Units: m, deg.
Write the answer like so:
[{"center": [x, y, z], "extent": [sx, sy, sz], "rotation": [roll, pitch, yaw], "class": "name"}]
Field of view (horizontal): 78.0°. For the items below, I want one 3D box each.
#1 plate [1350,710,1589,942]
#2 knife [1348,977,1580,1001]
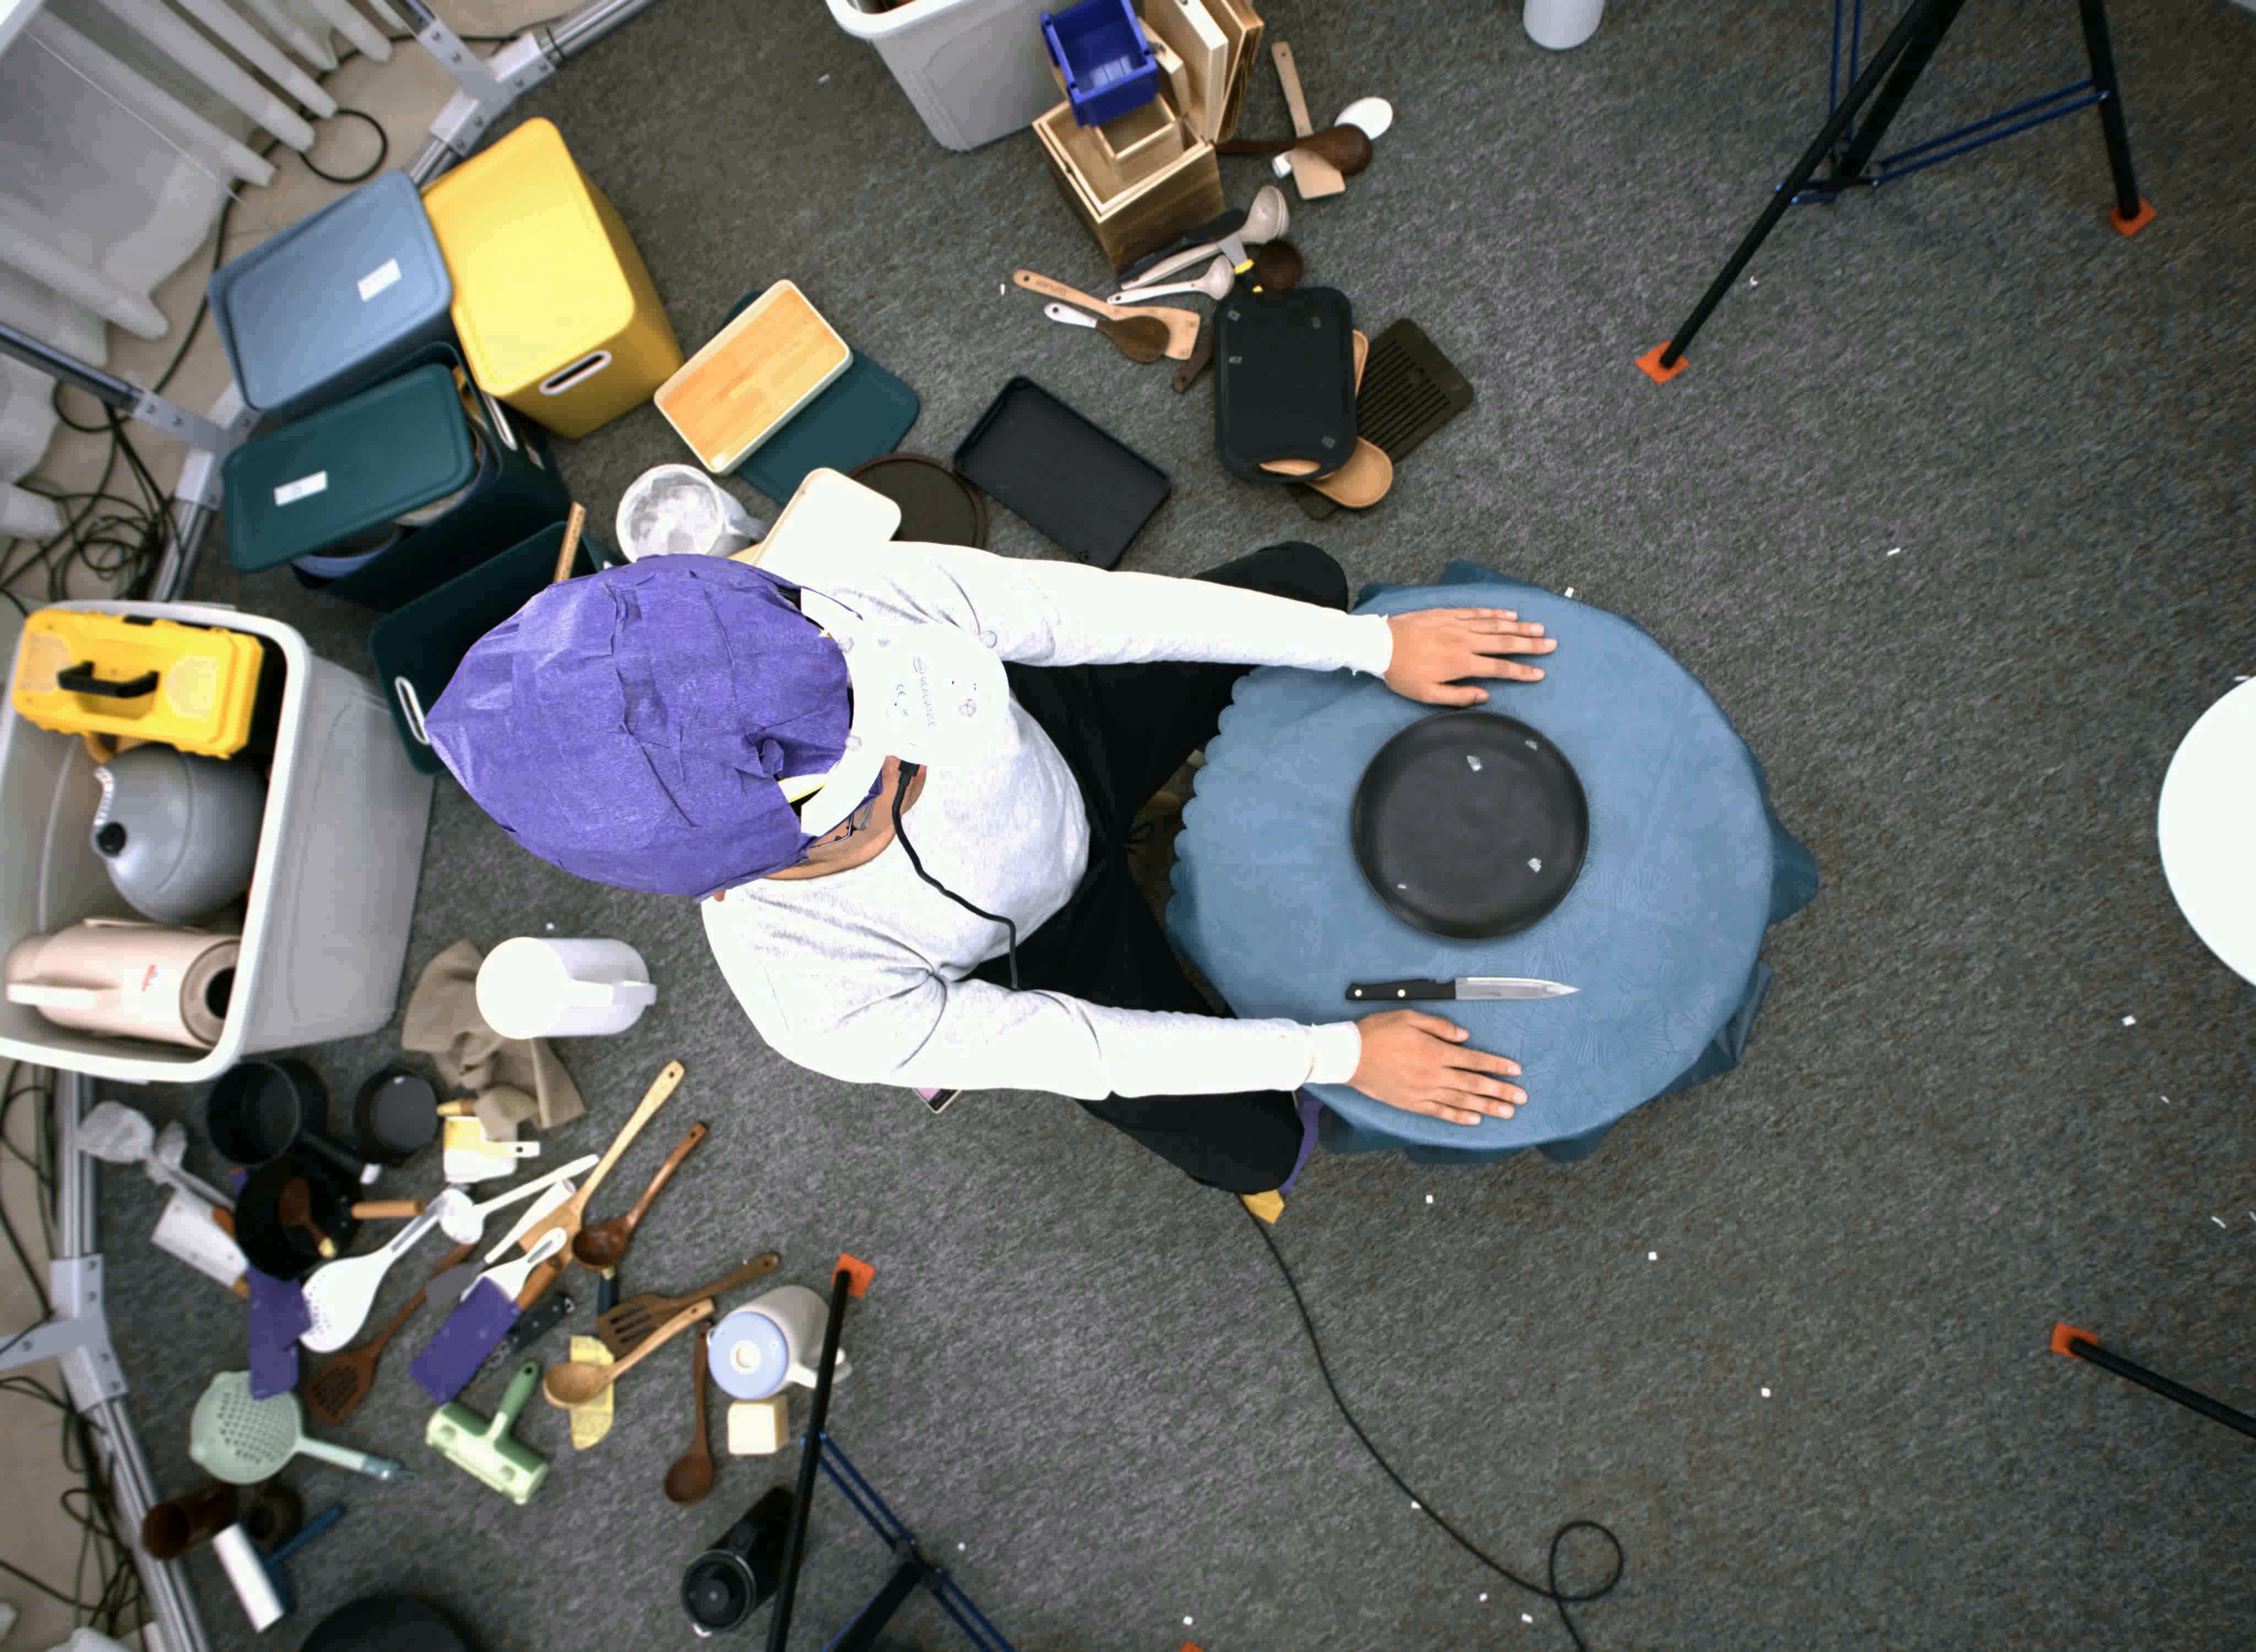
[{"center": [0.355, -0.002, 1.437], "extent": [0.245, 0.023, 0.243], "rotation": [-1, 87, 11], "class": "plate"}, {"center": [0.349, 0.168, 1.434], "extent": [0.239, 0.016, 0.024], "rotation": [-2, 86, 8], "class": "knife"}]
